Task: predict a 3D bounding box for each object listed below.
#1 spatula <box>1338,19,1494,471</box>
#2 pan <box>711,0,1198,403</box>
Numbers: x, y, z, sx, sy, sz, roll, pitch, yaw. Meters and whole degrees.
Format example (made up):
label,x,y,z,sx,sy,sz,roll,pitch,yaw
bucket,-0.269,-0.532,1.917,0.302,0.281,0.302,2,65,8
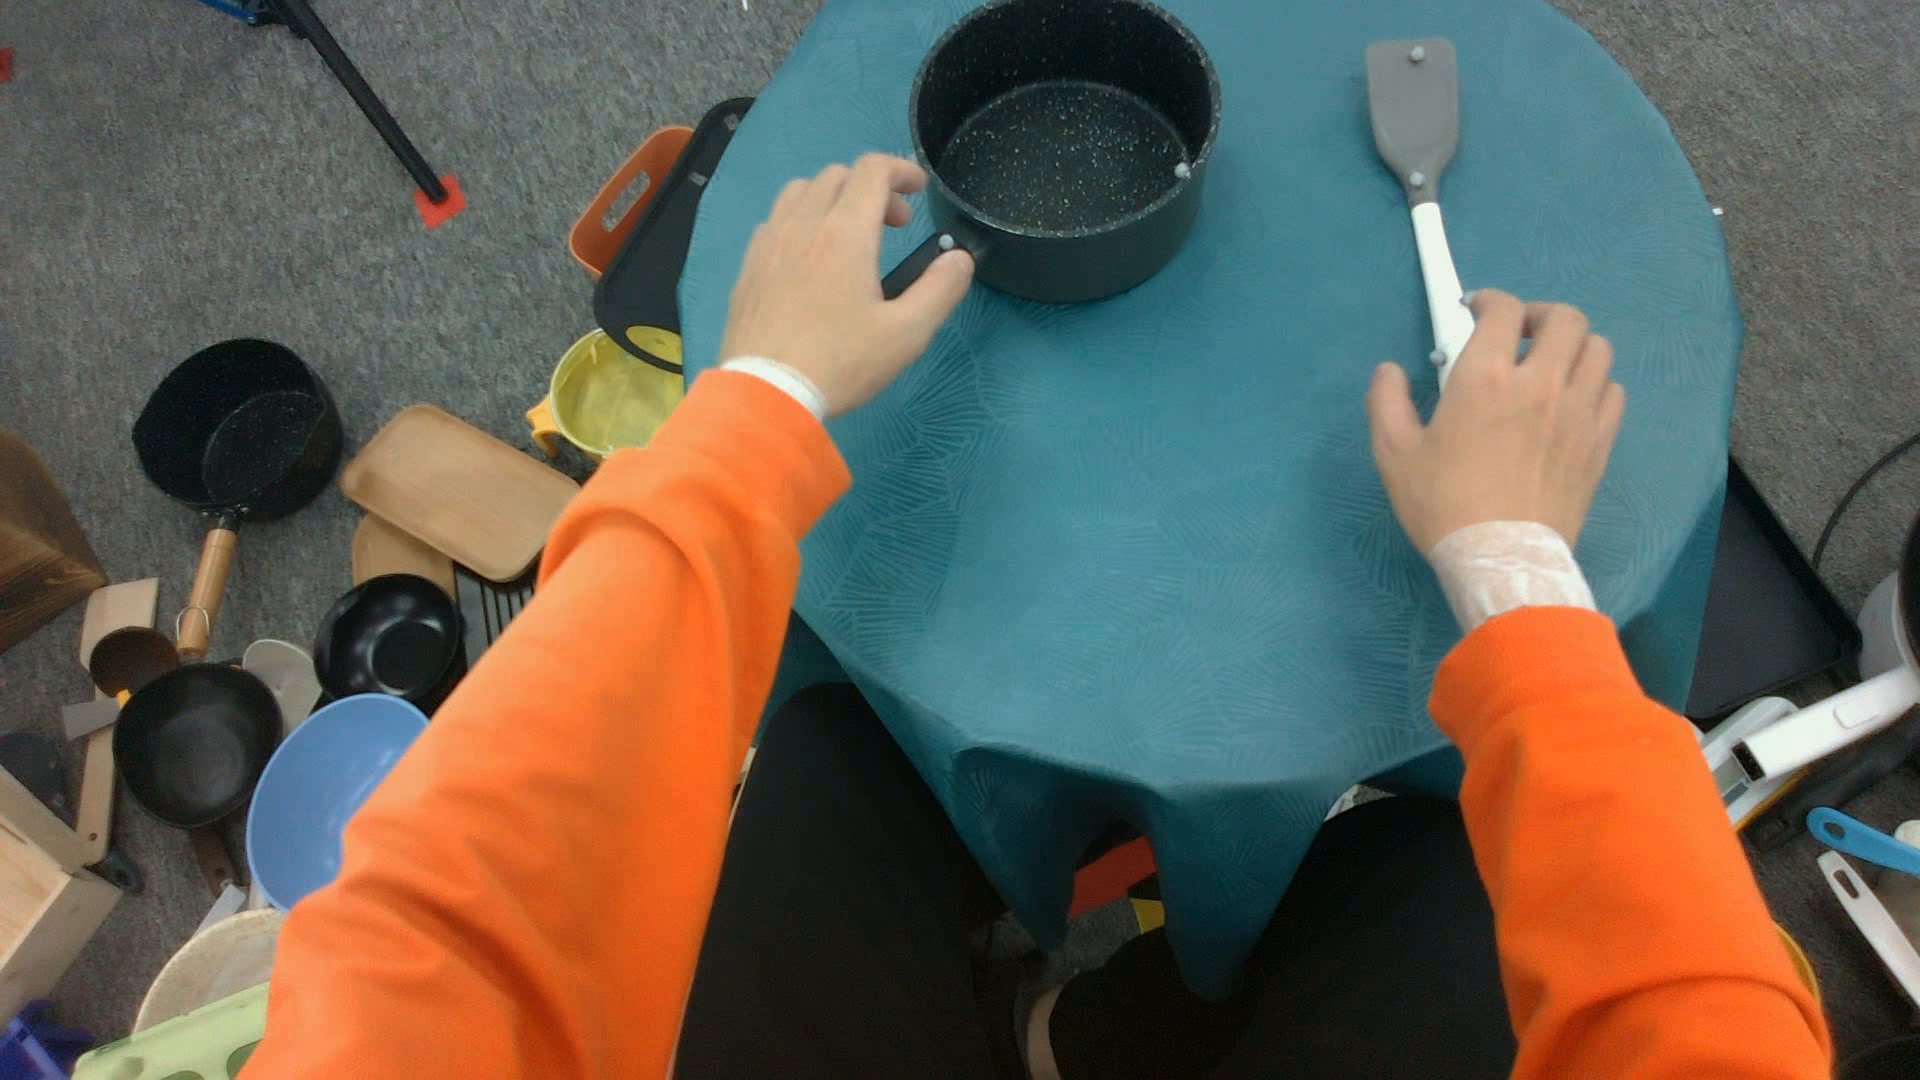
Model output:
label,x,y,z,sx,sy,sz,roll,pitch,yaw
spatula,0.257,-0.175,0.776,0.058,0.032,0.288,-4,68,5
pan,-0.005,-0.179,0.765,0.172,0.086,0.329,37,72,18
